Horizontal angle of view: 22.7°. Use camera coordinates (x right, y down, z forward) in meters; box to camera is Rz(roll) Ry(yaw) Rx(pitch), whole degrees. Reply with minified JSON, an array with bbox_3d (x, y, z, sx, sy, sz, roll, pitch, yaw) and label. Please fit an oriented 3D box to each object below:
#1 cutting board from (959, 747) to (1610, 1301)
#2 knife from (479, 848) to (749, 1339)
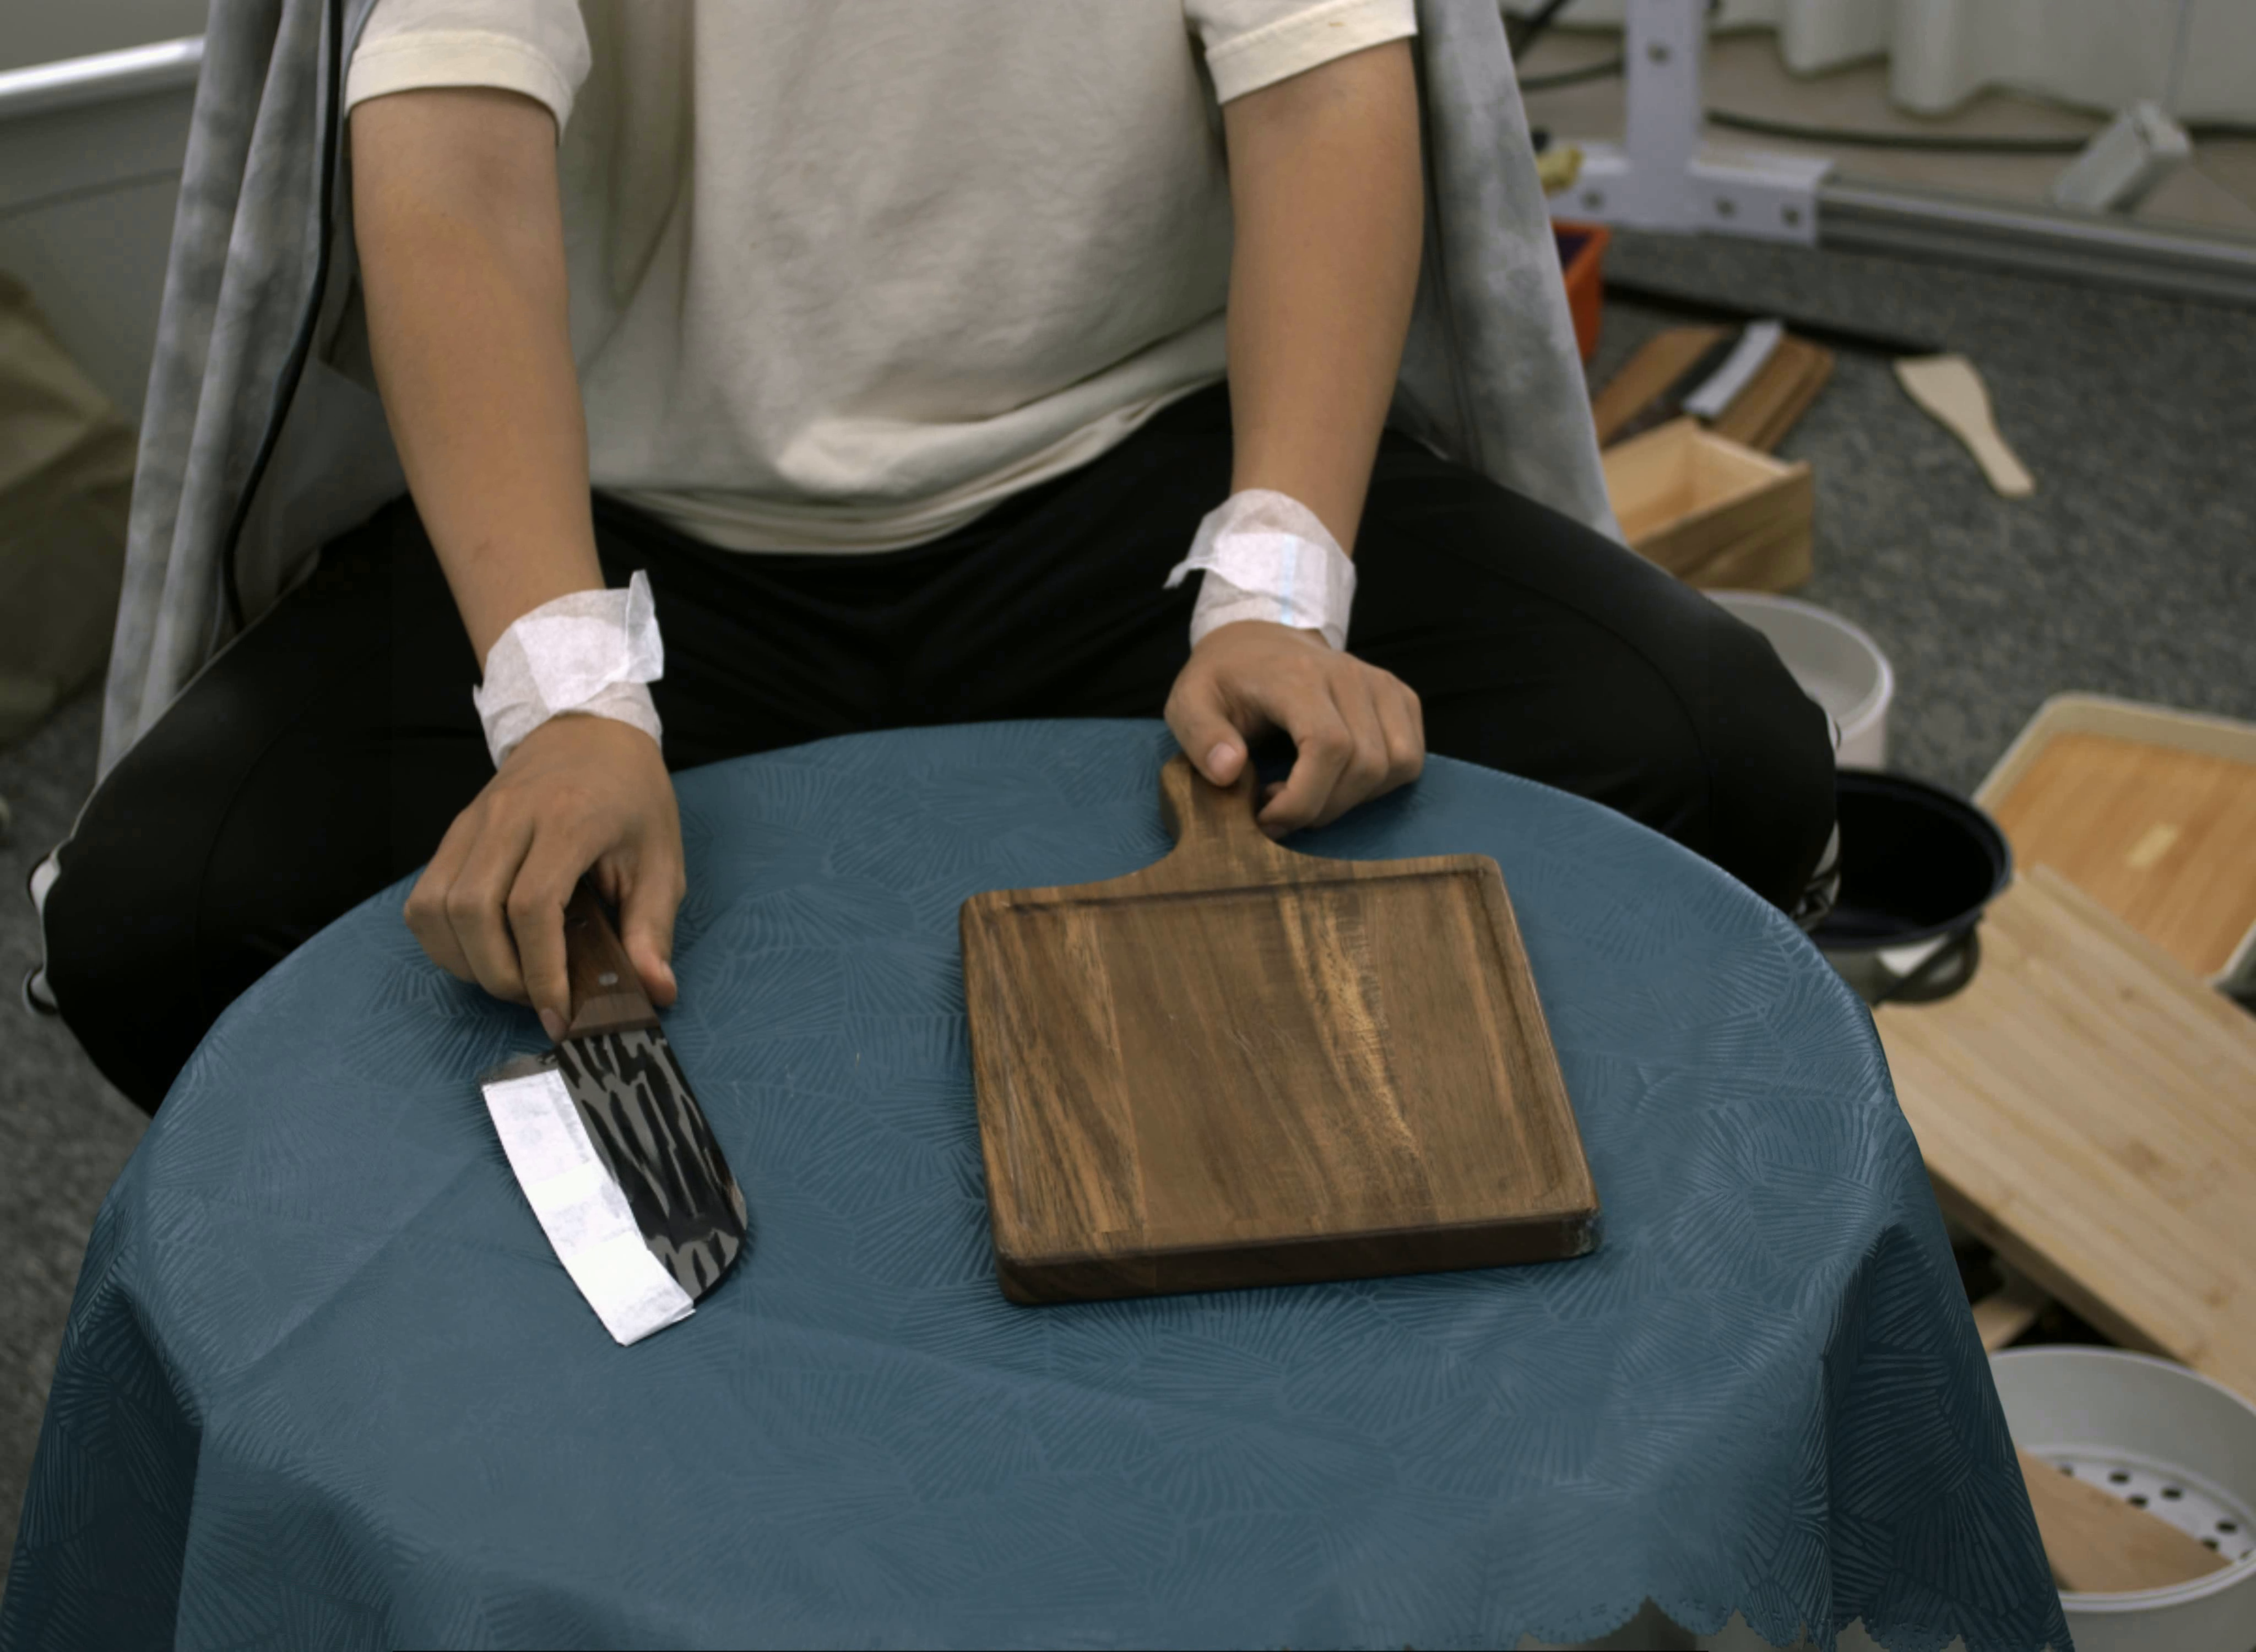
[{"bbox_3d":[0.044,0.058,1.956,0.200,0.023,0.357,-4,27,-3],"label":"cutting board"},{"bbox_3d":[-0.184,0.090,1.920,0.068,0.023,0.302,-13,31,-12],"label":"knife"}]
